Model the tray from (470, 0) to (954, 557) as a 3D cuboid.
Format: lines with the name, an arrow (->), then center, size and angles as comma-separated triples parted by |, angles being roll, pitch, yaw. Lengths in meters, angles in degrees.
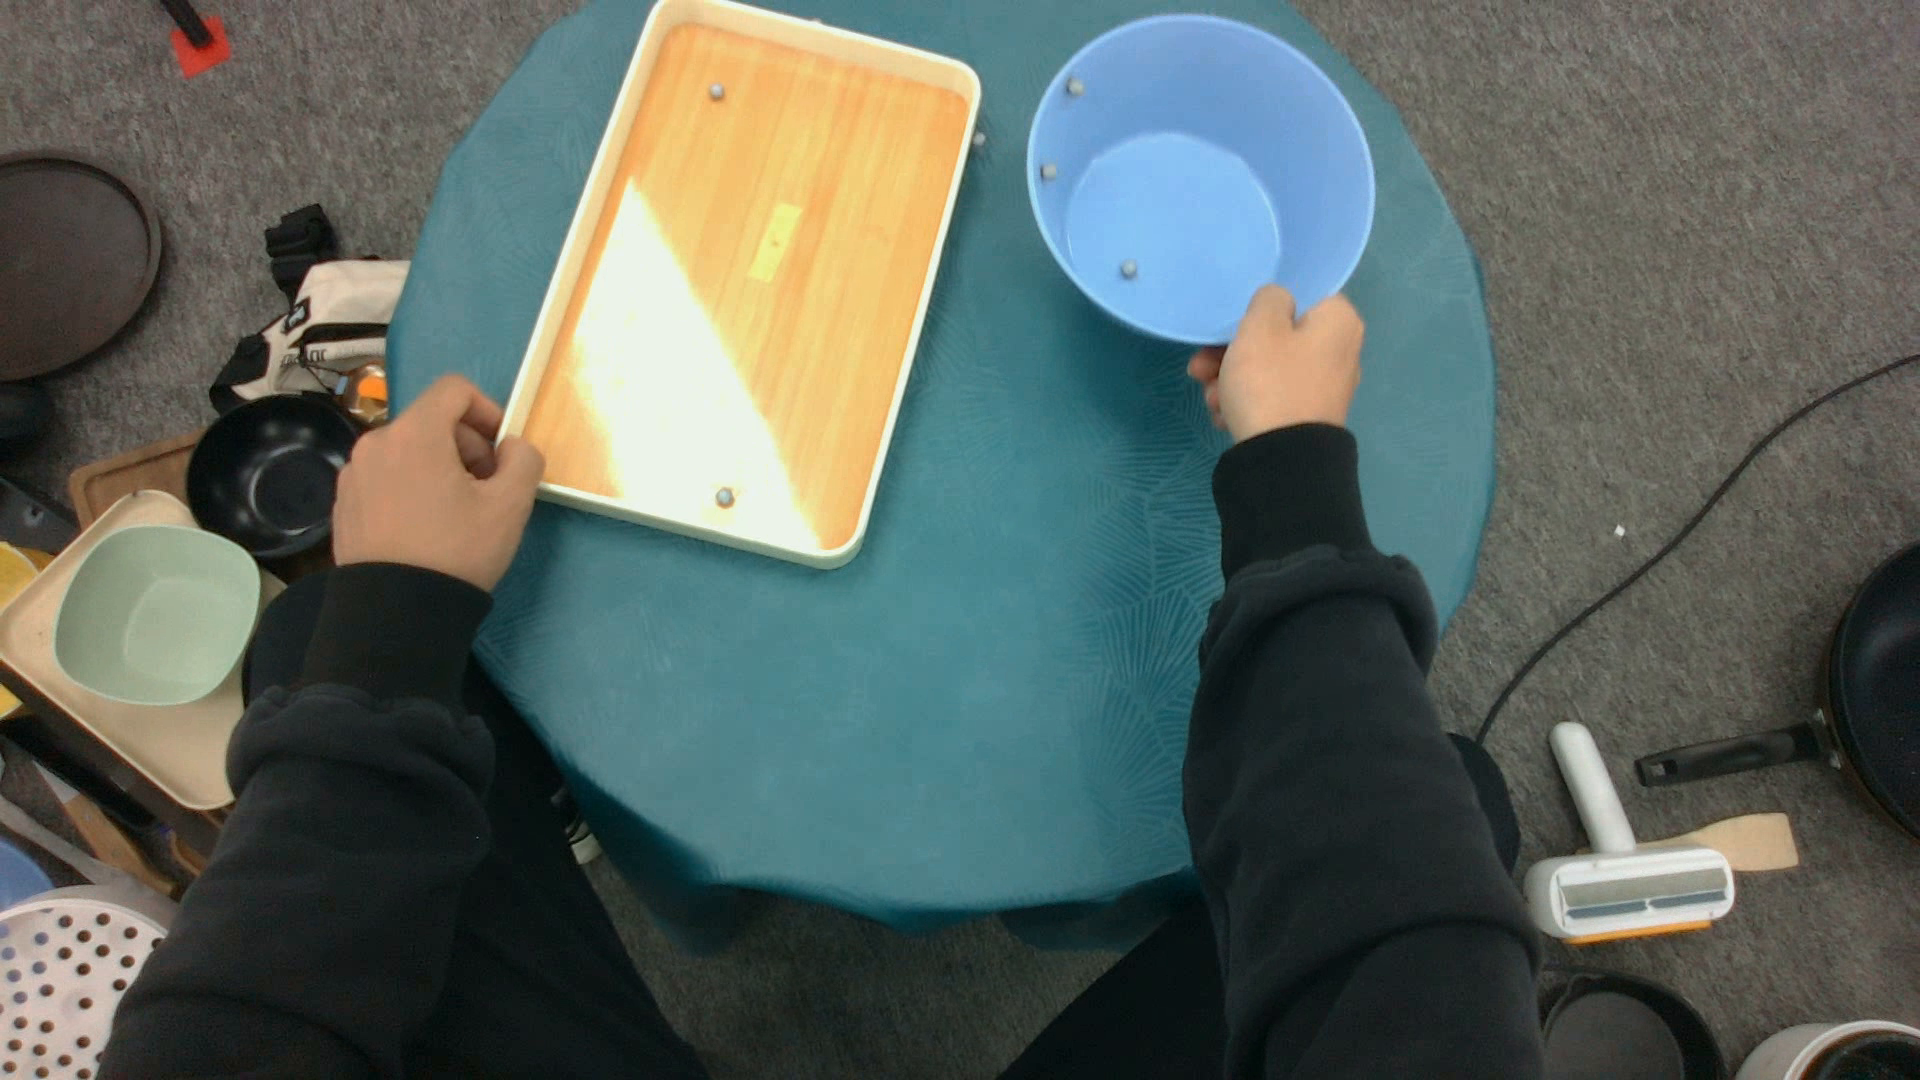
tray -> -0.125, -0.150, 0.741 | 0.191, 0.027, 0.301 | 13, 72, 0

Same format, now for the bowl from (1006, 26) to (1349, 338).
bowl -> 0.107, -0.175, 0.721 | 0.176, 0.070, 0.176 | 2, 74, -6
